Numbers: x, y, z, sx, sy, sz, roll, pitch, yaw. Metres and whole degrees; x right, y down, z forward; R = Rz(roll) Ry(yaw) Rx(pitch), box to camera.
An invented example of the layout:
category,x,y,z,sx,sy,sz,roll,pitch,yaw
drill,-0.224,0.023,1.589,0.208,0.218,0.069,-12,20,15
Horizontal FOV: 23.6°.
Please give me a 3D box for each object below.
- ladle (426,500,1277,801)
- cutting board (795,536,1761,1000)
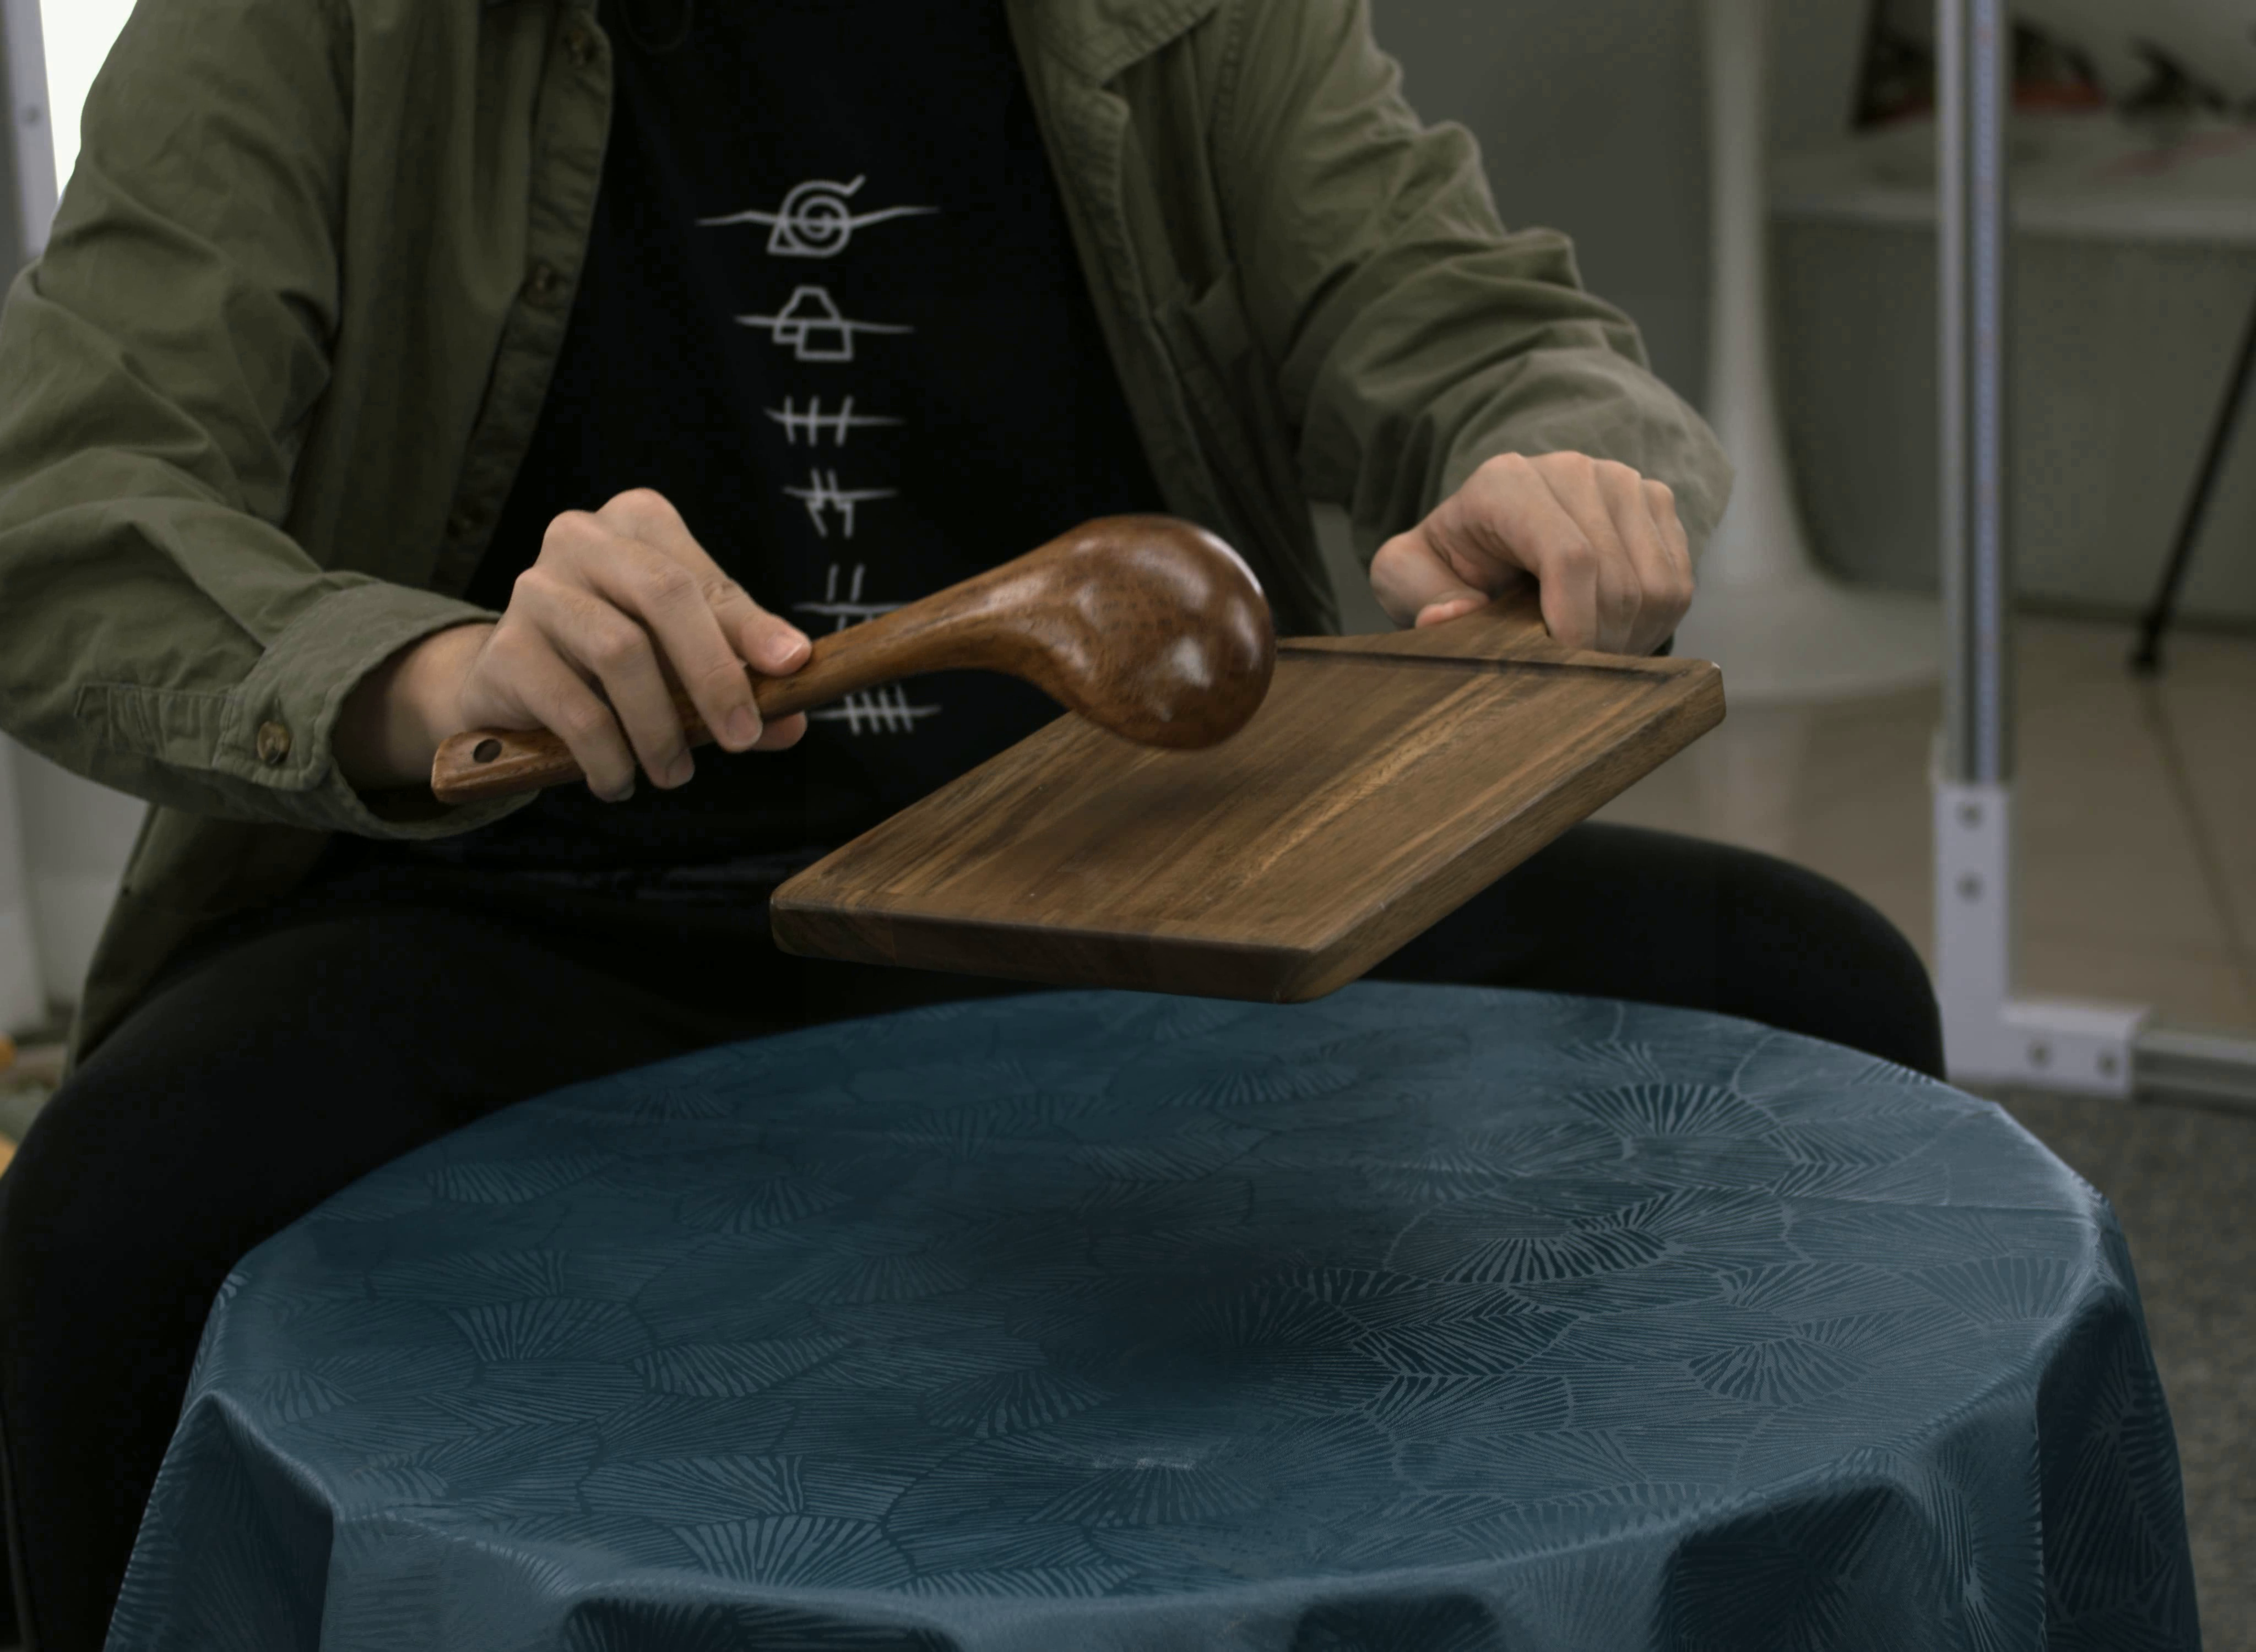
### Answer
category,x,y,z,sx,sy,sz,roll,pitch,yaw
ladle,-0.084,-0.037,1.665,0.274,0.076,0.082,-16,47,26
cutting board,0.076,-0.026,1.650,0.202,0.023,0.346,5,23,37
